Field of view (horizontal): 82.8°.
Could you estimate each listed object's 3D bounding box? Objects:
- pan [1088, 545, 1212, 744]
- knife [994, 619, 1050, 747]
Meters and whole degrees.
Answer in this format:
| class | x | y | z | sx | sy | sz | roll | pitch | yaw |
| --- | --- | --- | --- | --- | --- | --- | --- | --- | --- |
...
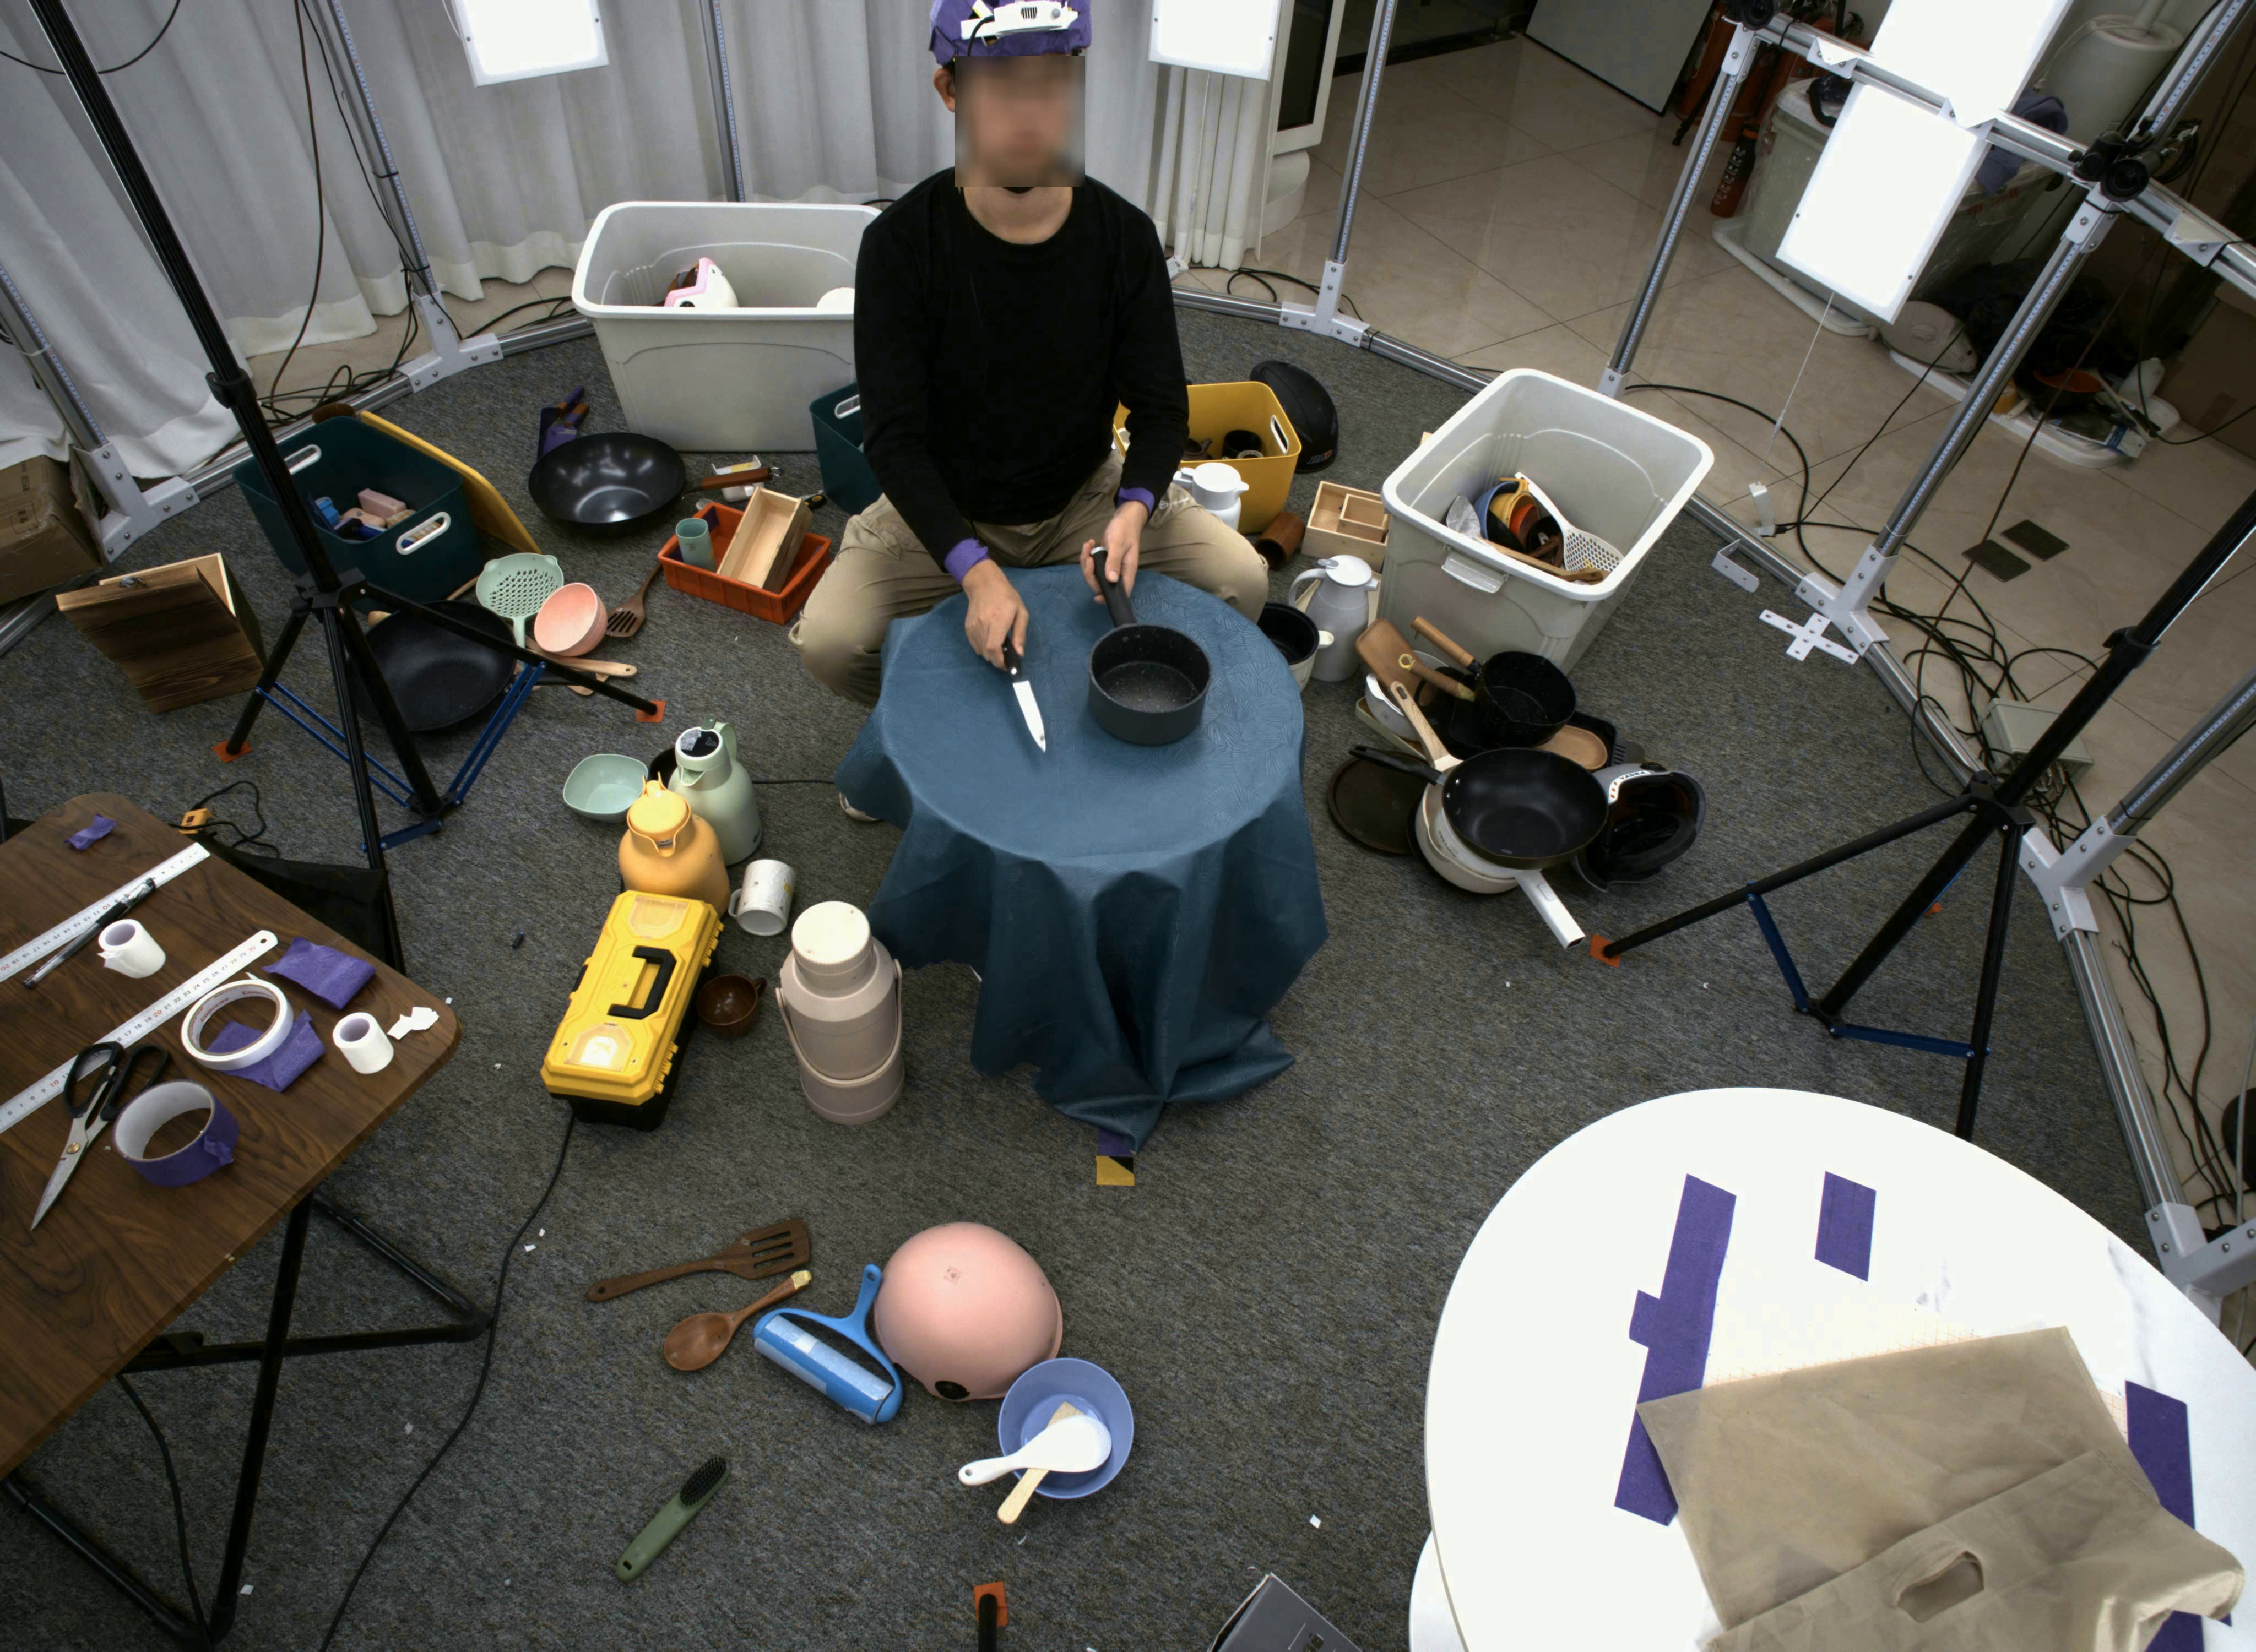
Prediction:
| class | x | y | z | sx | sy | sz | roll | pitch | yaw |
| --- | --- | --- | --- | --- | --- | --- | --- | --- | --- |
| pan | 0.008 | -0.261 | 1.834 | 0.172 | 0.084 | 0.337 | -9 | 53 | -12 |
| knife | -0.147 | -0.198 | 1.778 | 0.024 | 0.016 | 0.243 | -22 | 57 | -1 |
